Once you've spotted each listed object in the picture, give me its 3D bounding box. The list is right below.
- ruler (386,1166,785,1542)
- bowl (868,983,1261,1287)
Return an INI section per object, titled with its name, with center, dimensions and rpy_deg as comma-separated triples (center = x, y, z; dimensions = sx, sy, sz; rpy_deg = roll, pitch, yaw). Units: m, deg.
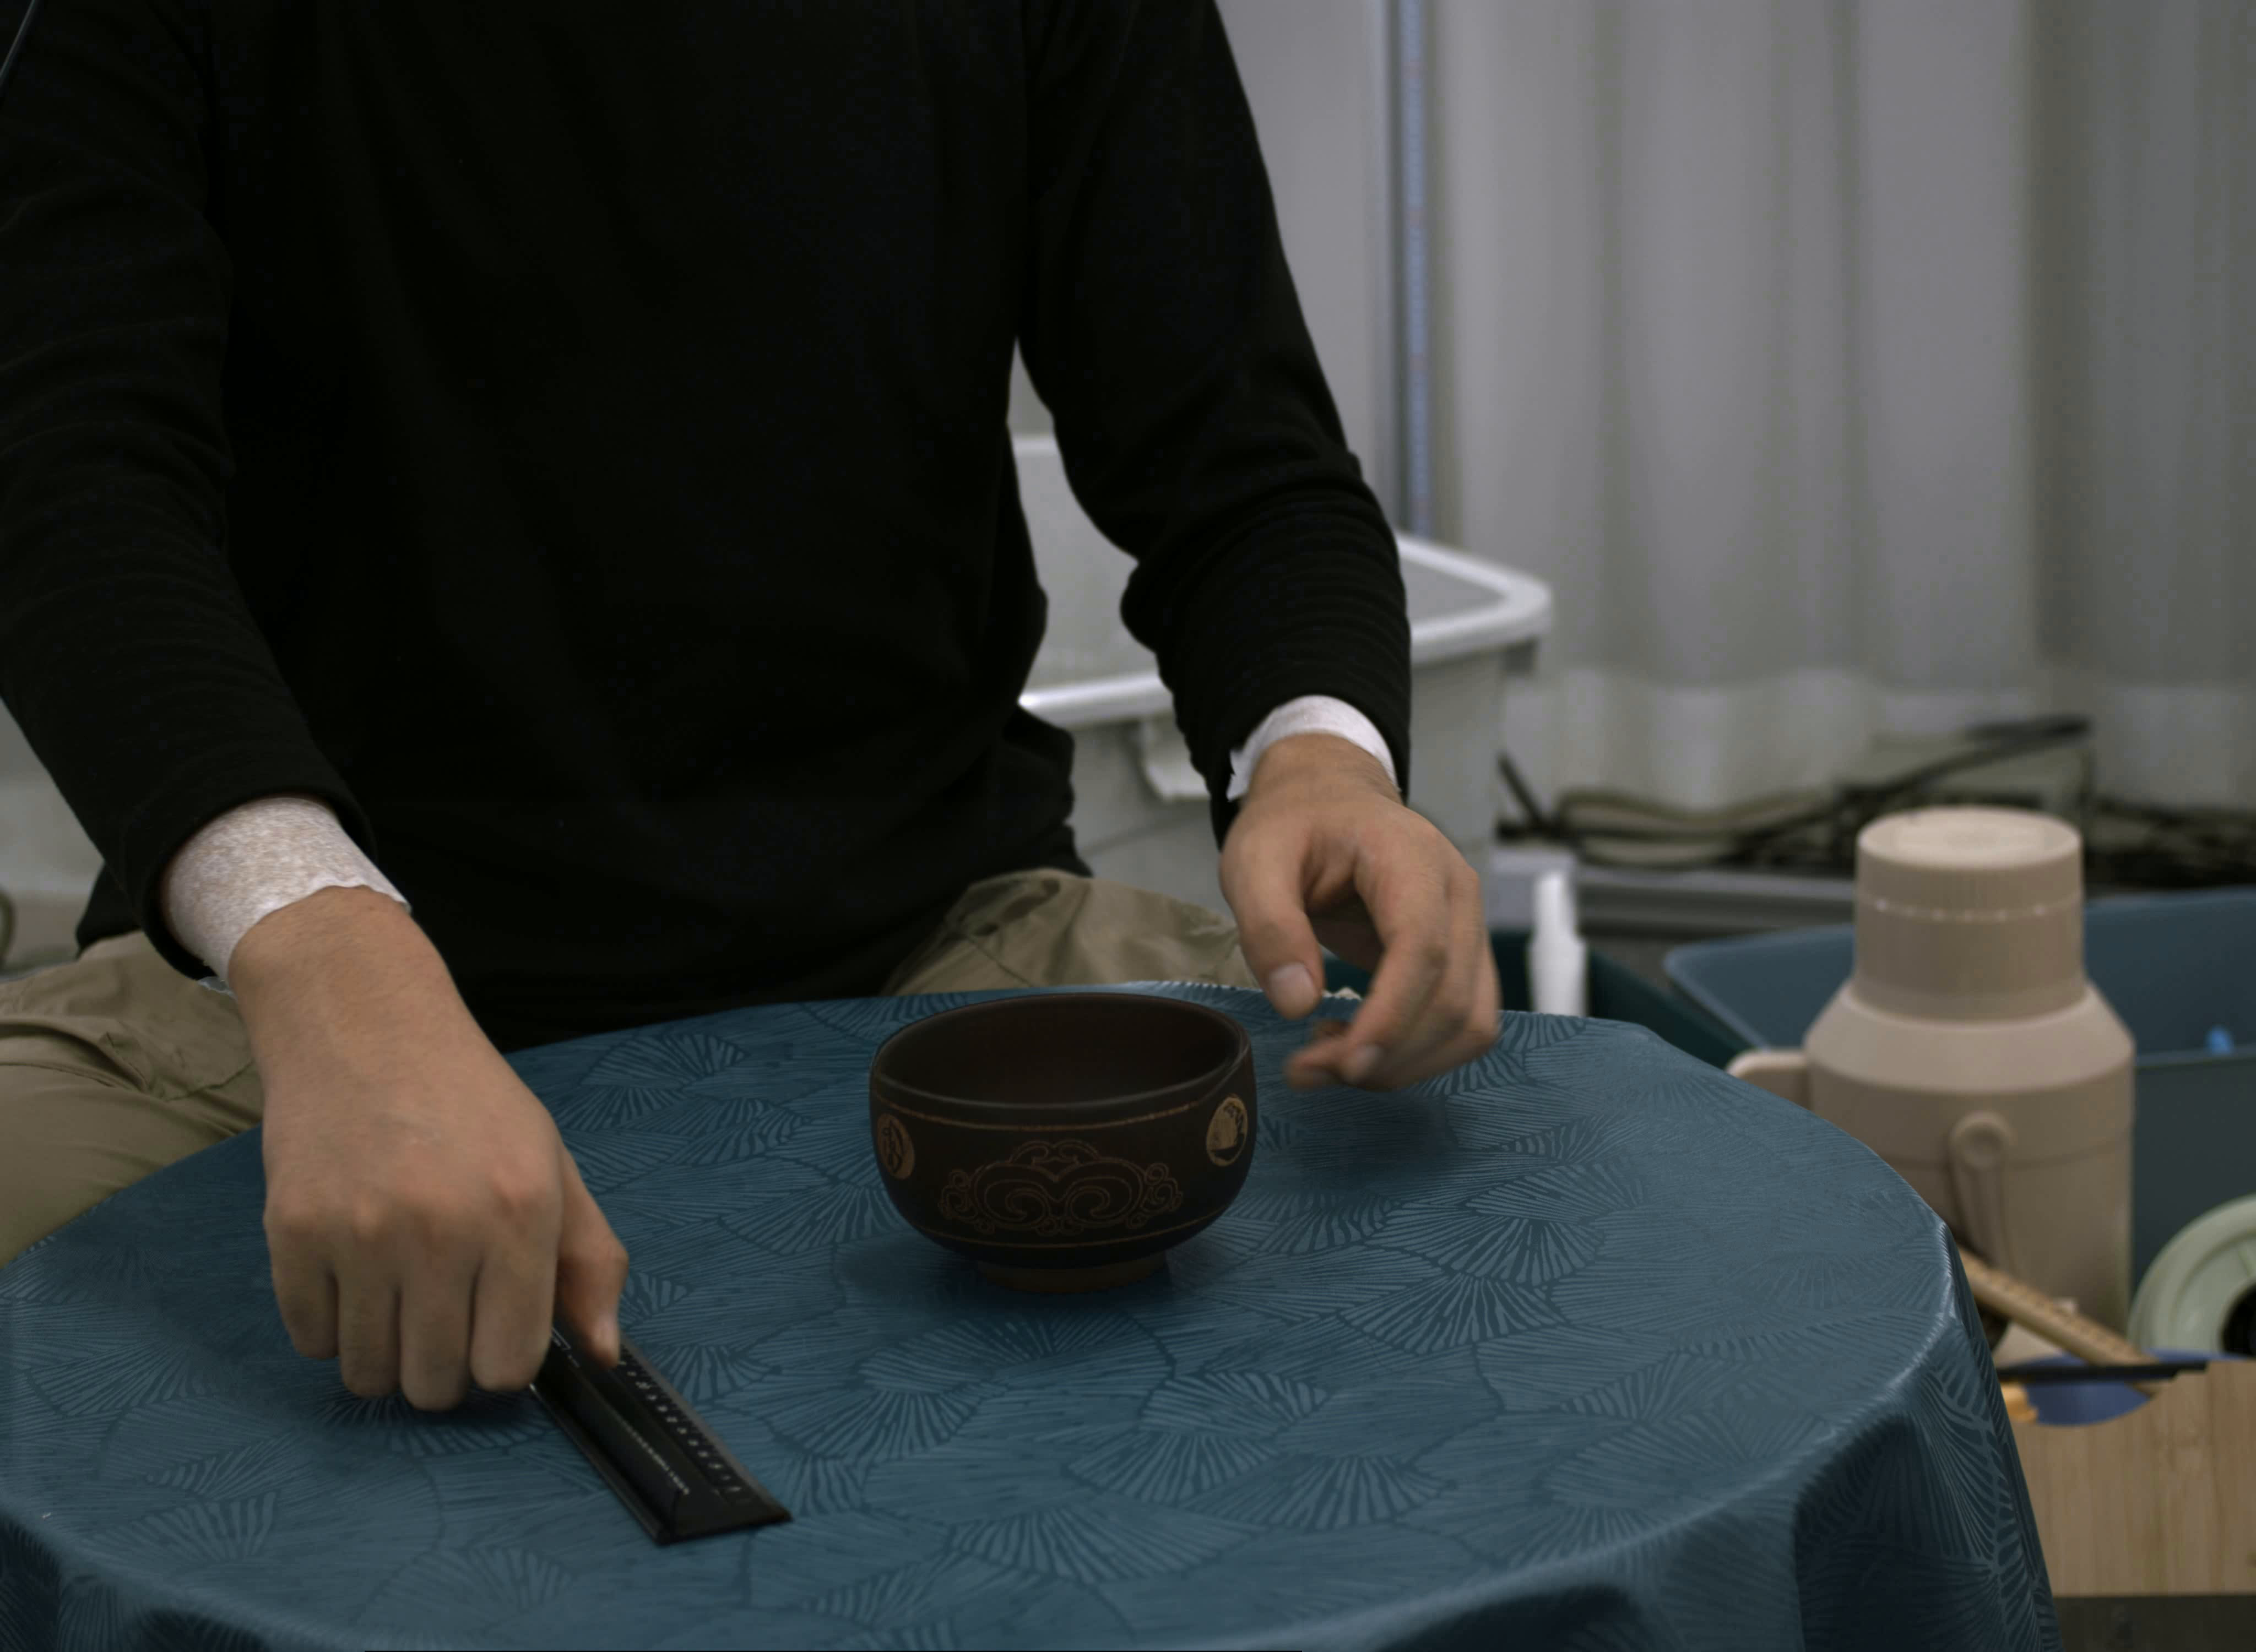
[ruler]
center = -0.162, 0.147, 1.594
dimensions = 0.039, 0.017, 0.315
rpy_deg = -4, 14, -20
[bowl]
center = -0.019, 0.097, 1.644
dimensions = 0.117, 0.069, 0.119
rpy_deg = -2, 15, 0
